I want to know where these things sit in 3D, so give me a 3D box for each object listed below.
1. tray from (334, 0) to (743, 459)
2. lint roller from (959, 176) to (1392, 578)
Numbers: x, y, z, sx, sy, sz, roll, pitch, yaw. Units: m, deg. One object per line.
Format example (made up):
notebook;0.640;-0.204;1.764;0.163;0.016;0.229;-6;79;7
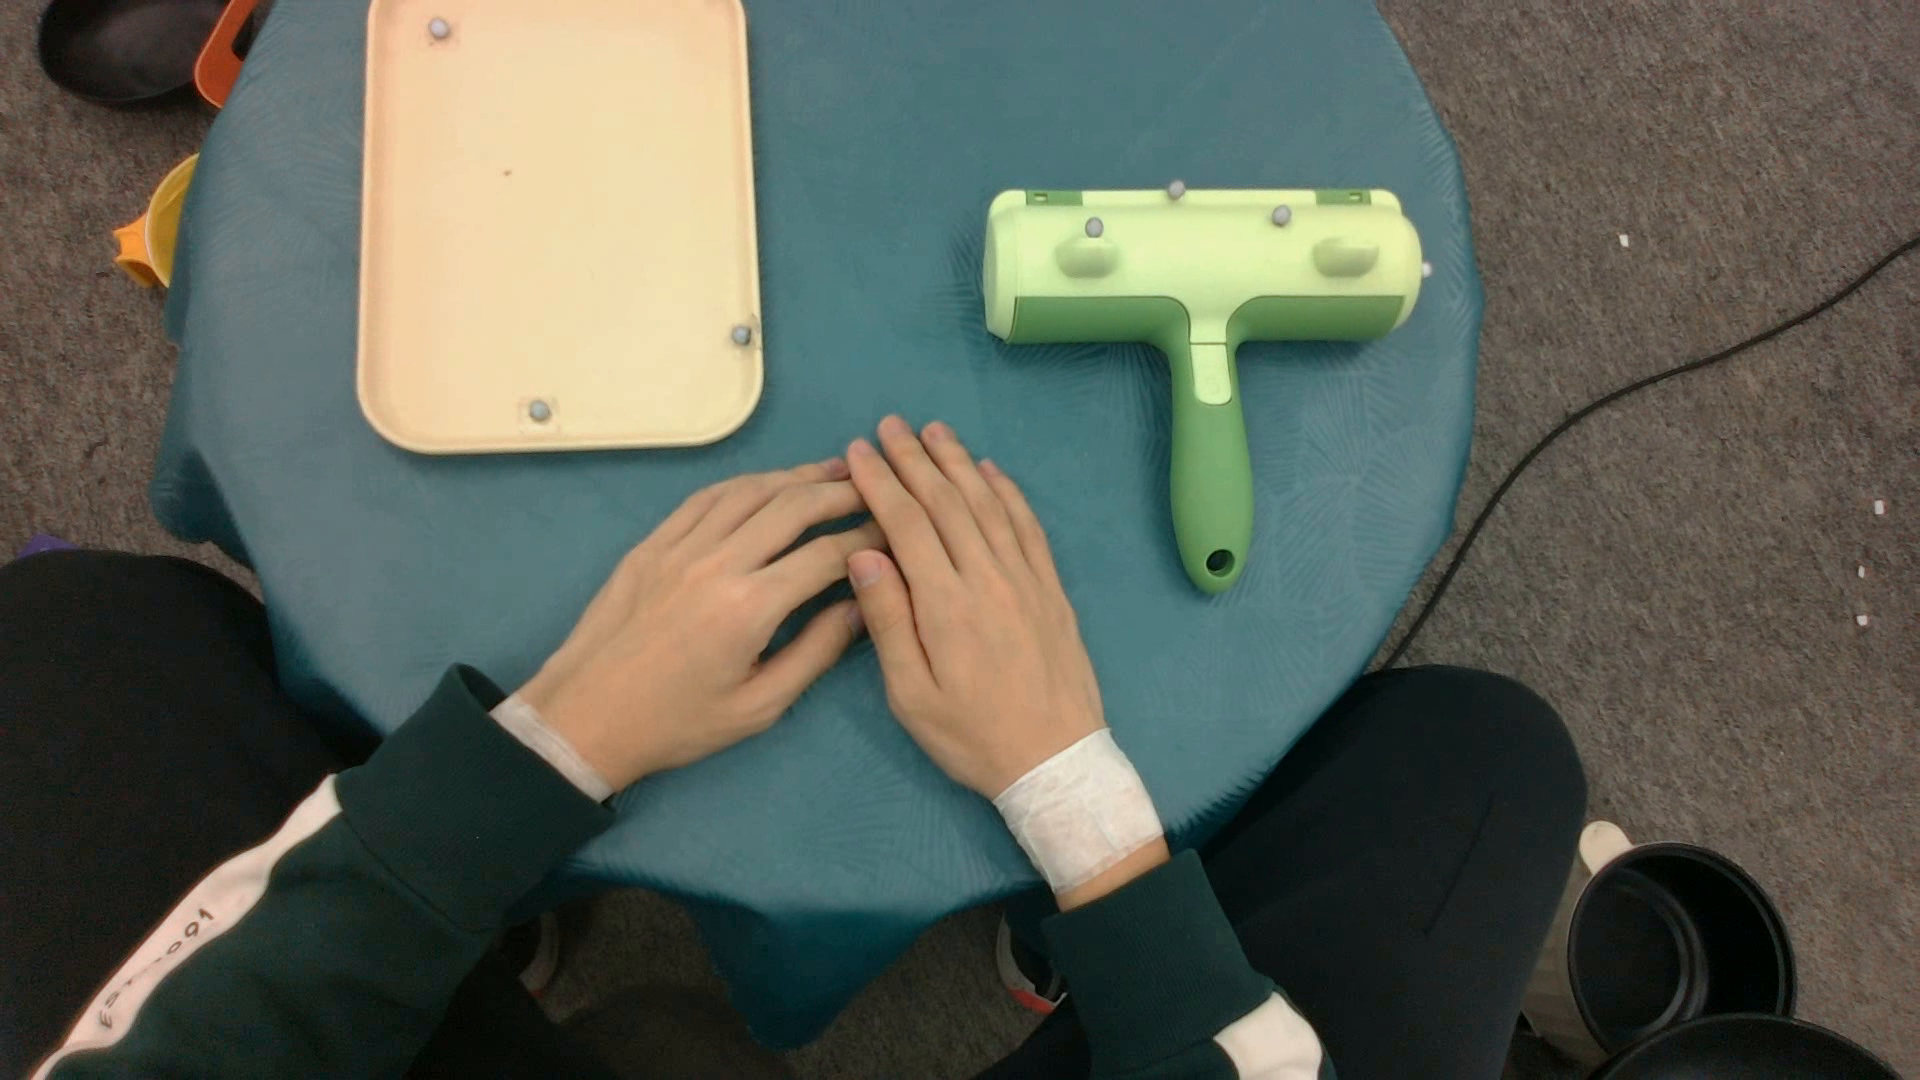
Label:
tray;-0.191;-0.154;0.624;0.171;0.017;0.240;-5;77;-8
lint roller;0.104;-0.080;0.613;0.199;0.082;0.184;-2;72;-8
